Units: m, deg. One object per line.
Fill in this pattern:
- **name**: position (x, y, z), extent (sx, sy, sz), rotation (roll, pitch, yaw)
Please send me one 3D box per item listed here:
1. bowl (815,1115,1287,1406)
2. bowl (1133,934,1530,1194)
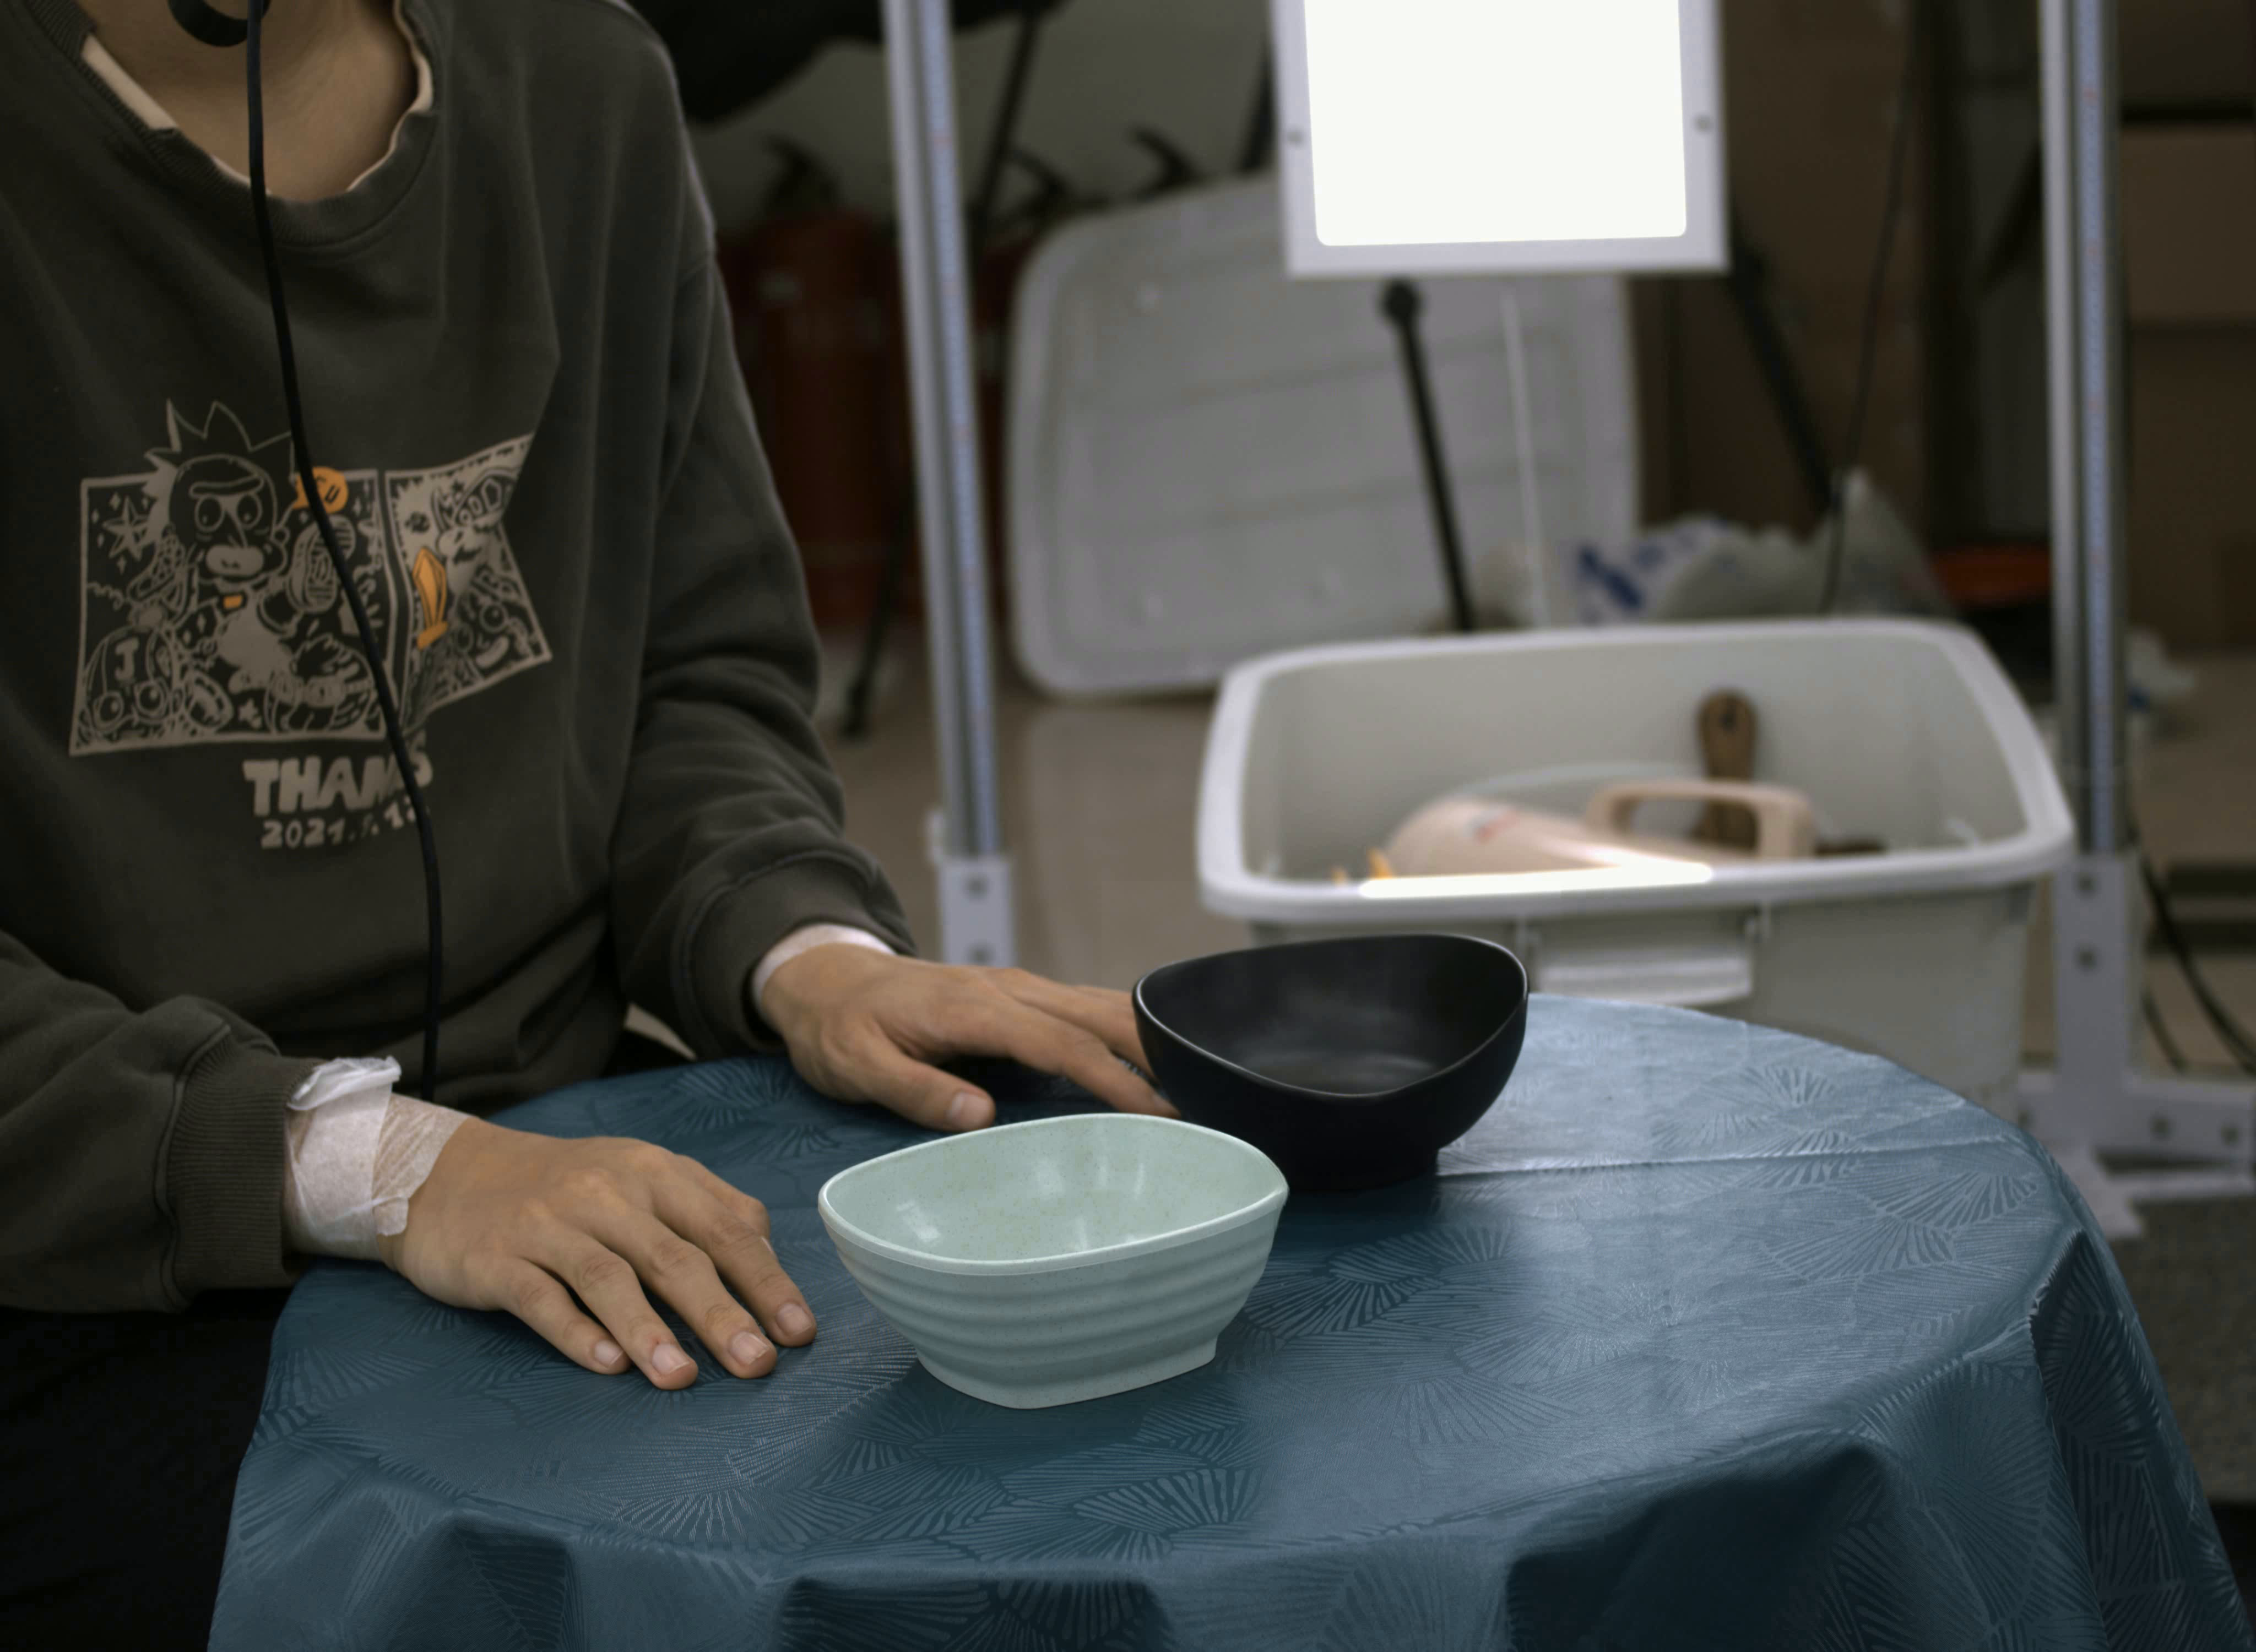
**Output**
- **bowl**: position (-0.023, 0.139, 1.732), extent (0.151, 0.059, 0.151), rotation (-3, 13, -1)
- **bowl**: position (0.073, 0.086, 1.903), extent (0.136, 0.067, 0.171), rotation (-7, 15, -6)
